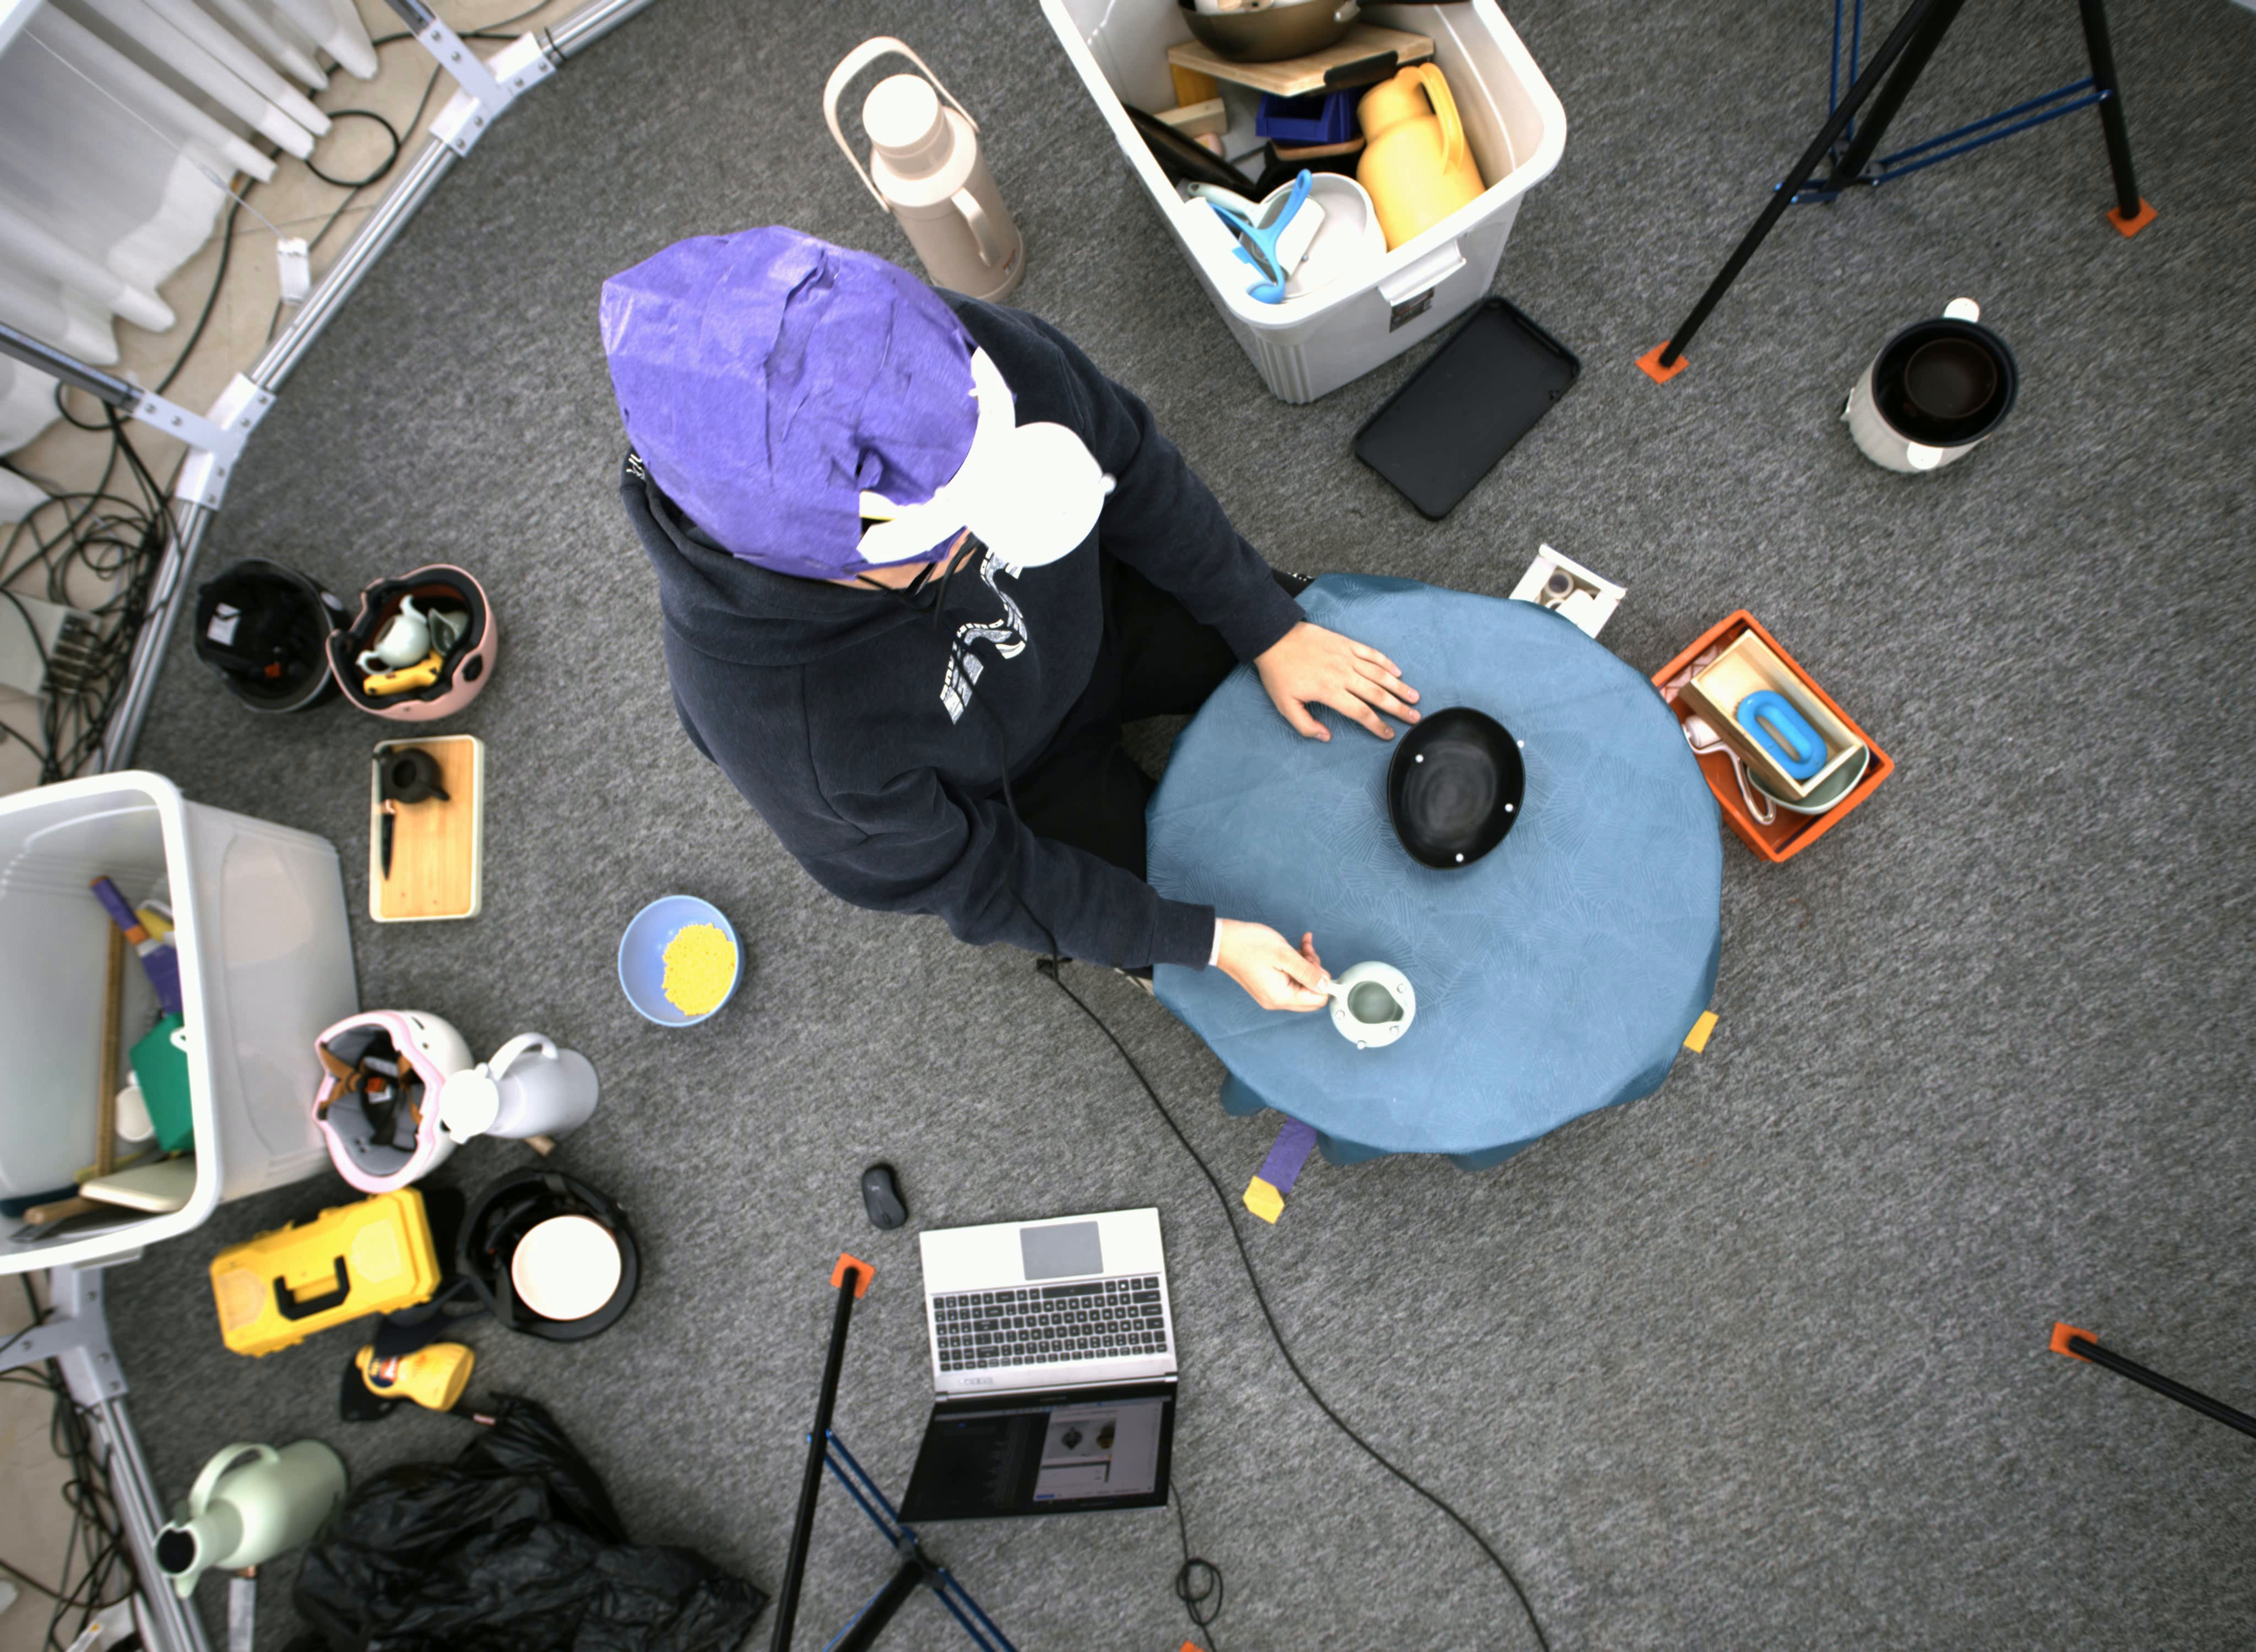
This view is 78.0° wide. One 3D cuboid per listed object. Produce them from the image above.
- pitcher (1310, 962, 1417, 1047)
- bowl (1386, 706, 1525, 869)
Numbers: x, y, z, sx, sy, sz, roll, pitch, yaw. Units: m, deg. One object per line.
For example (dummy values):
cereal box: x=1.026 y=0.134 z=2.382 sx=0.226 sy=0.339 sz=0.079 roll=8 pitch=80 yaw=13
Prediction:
pitcher: x=0.235 y=0.173 z=1.388 sx=0.108 sy=0.060 sz=0.085 roll=18 pitch=86 yaw=19
bowl: x=0.337 y=-0.039 z=1.423 sx=0.137 sy=0.066 sz=0.170 roll=12 pitch=89 yaw=12
